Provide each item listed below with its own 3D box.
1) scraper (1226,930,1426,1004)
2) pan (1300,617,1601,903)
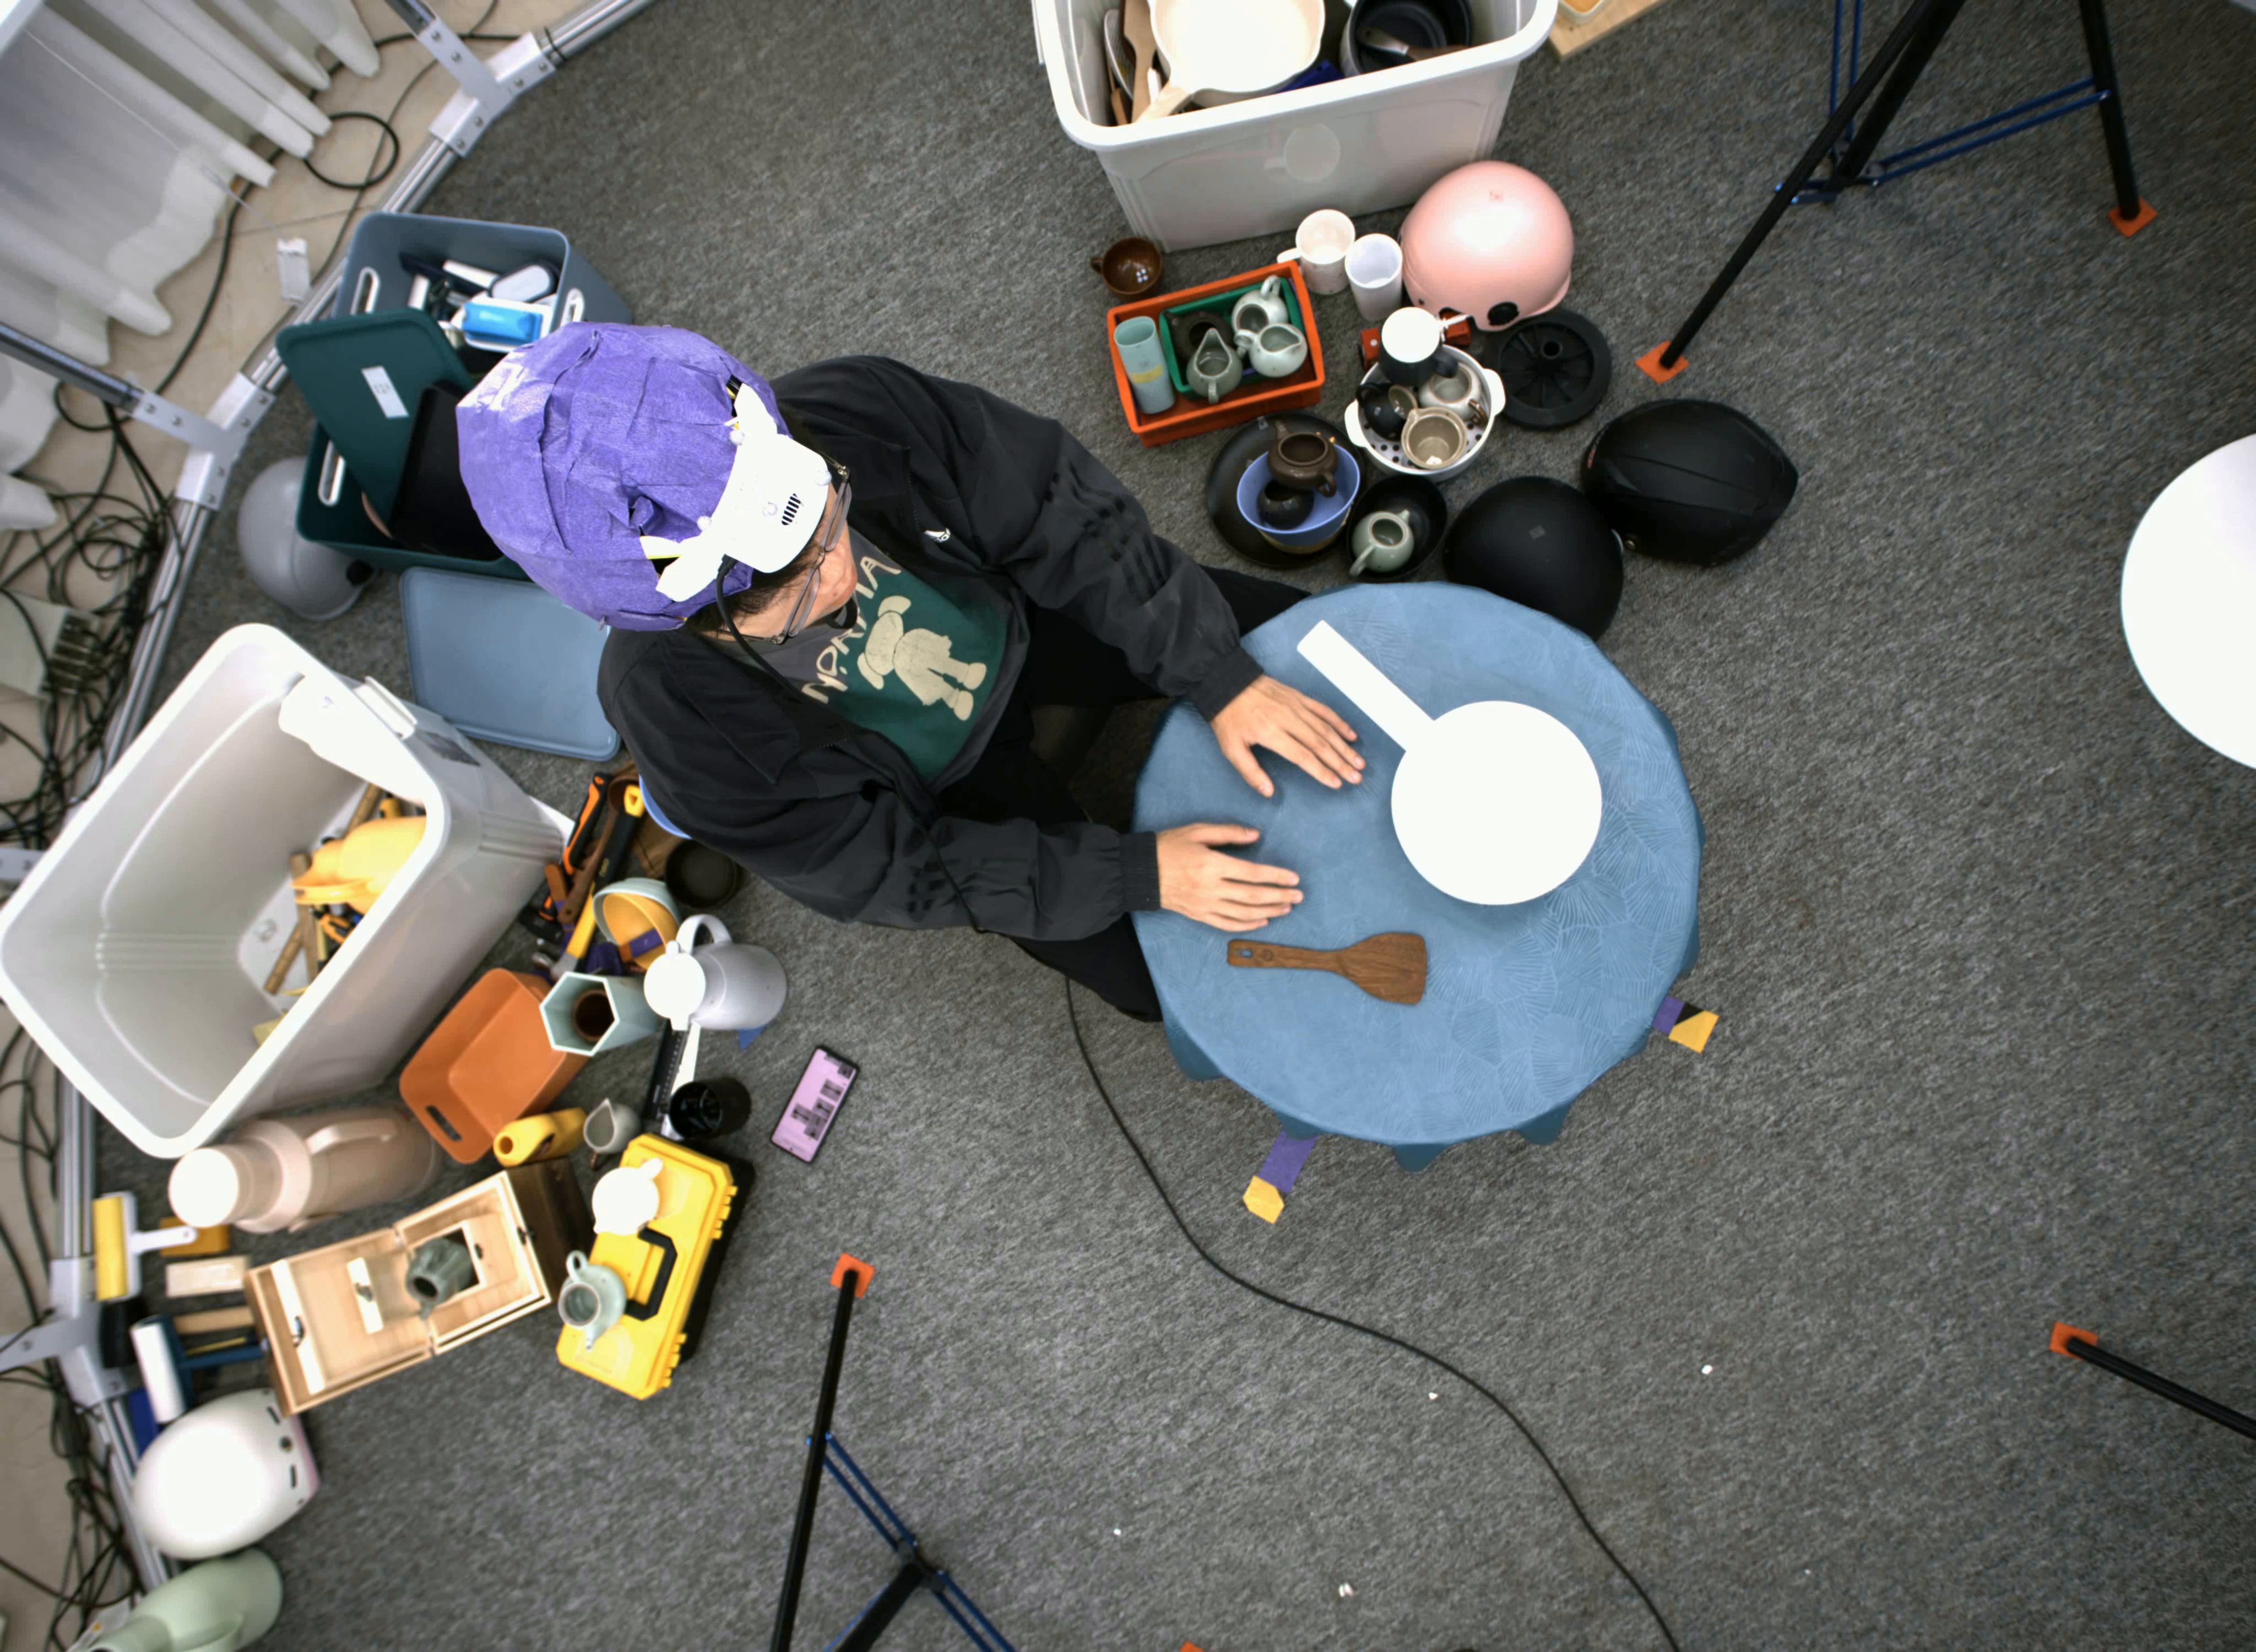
[{"bbox_3d":[0.208,0.140,1.463,0.212,0.011,0.075,4,87,12],"label":"scraper"},{"bbox_3d":[0.316,-0.074,1.408,0.353,0.102,0.202,45,95,11],"label":"pan"}]
